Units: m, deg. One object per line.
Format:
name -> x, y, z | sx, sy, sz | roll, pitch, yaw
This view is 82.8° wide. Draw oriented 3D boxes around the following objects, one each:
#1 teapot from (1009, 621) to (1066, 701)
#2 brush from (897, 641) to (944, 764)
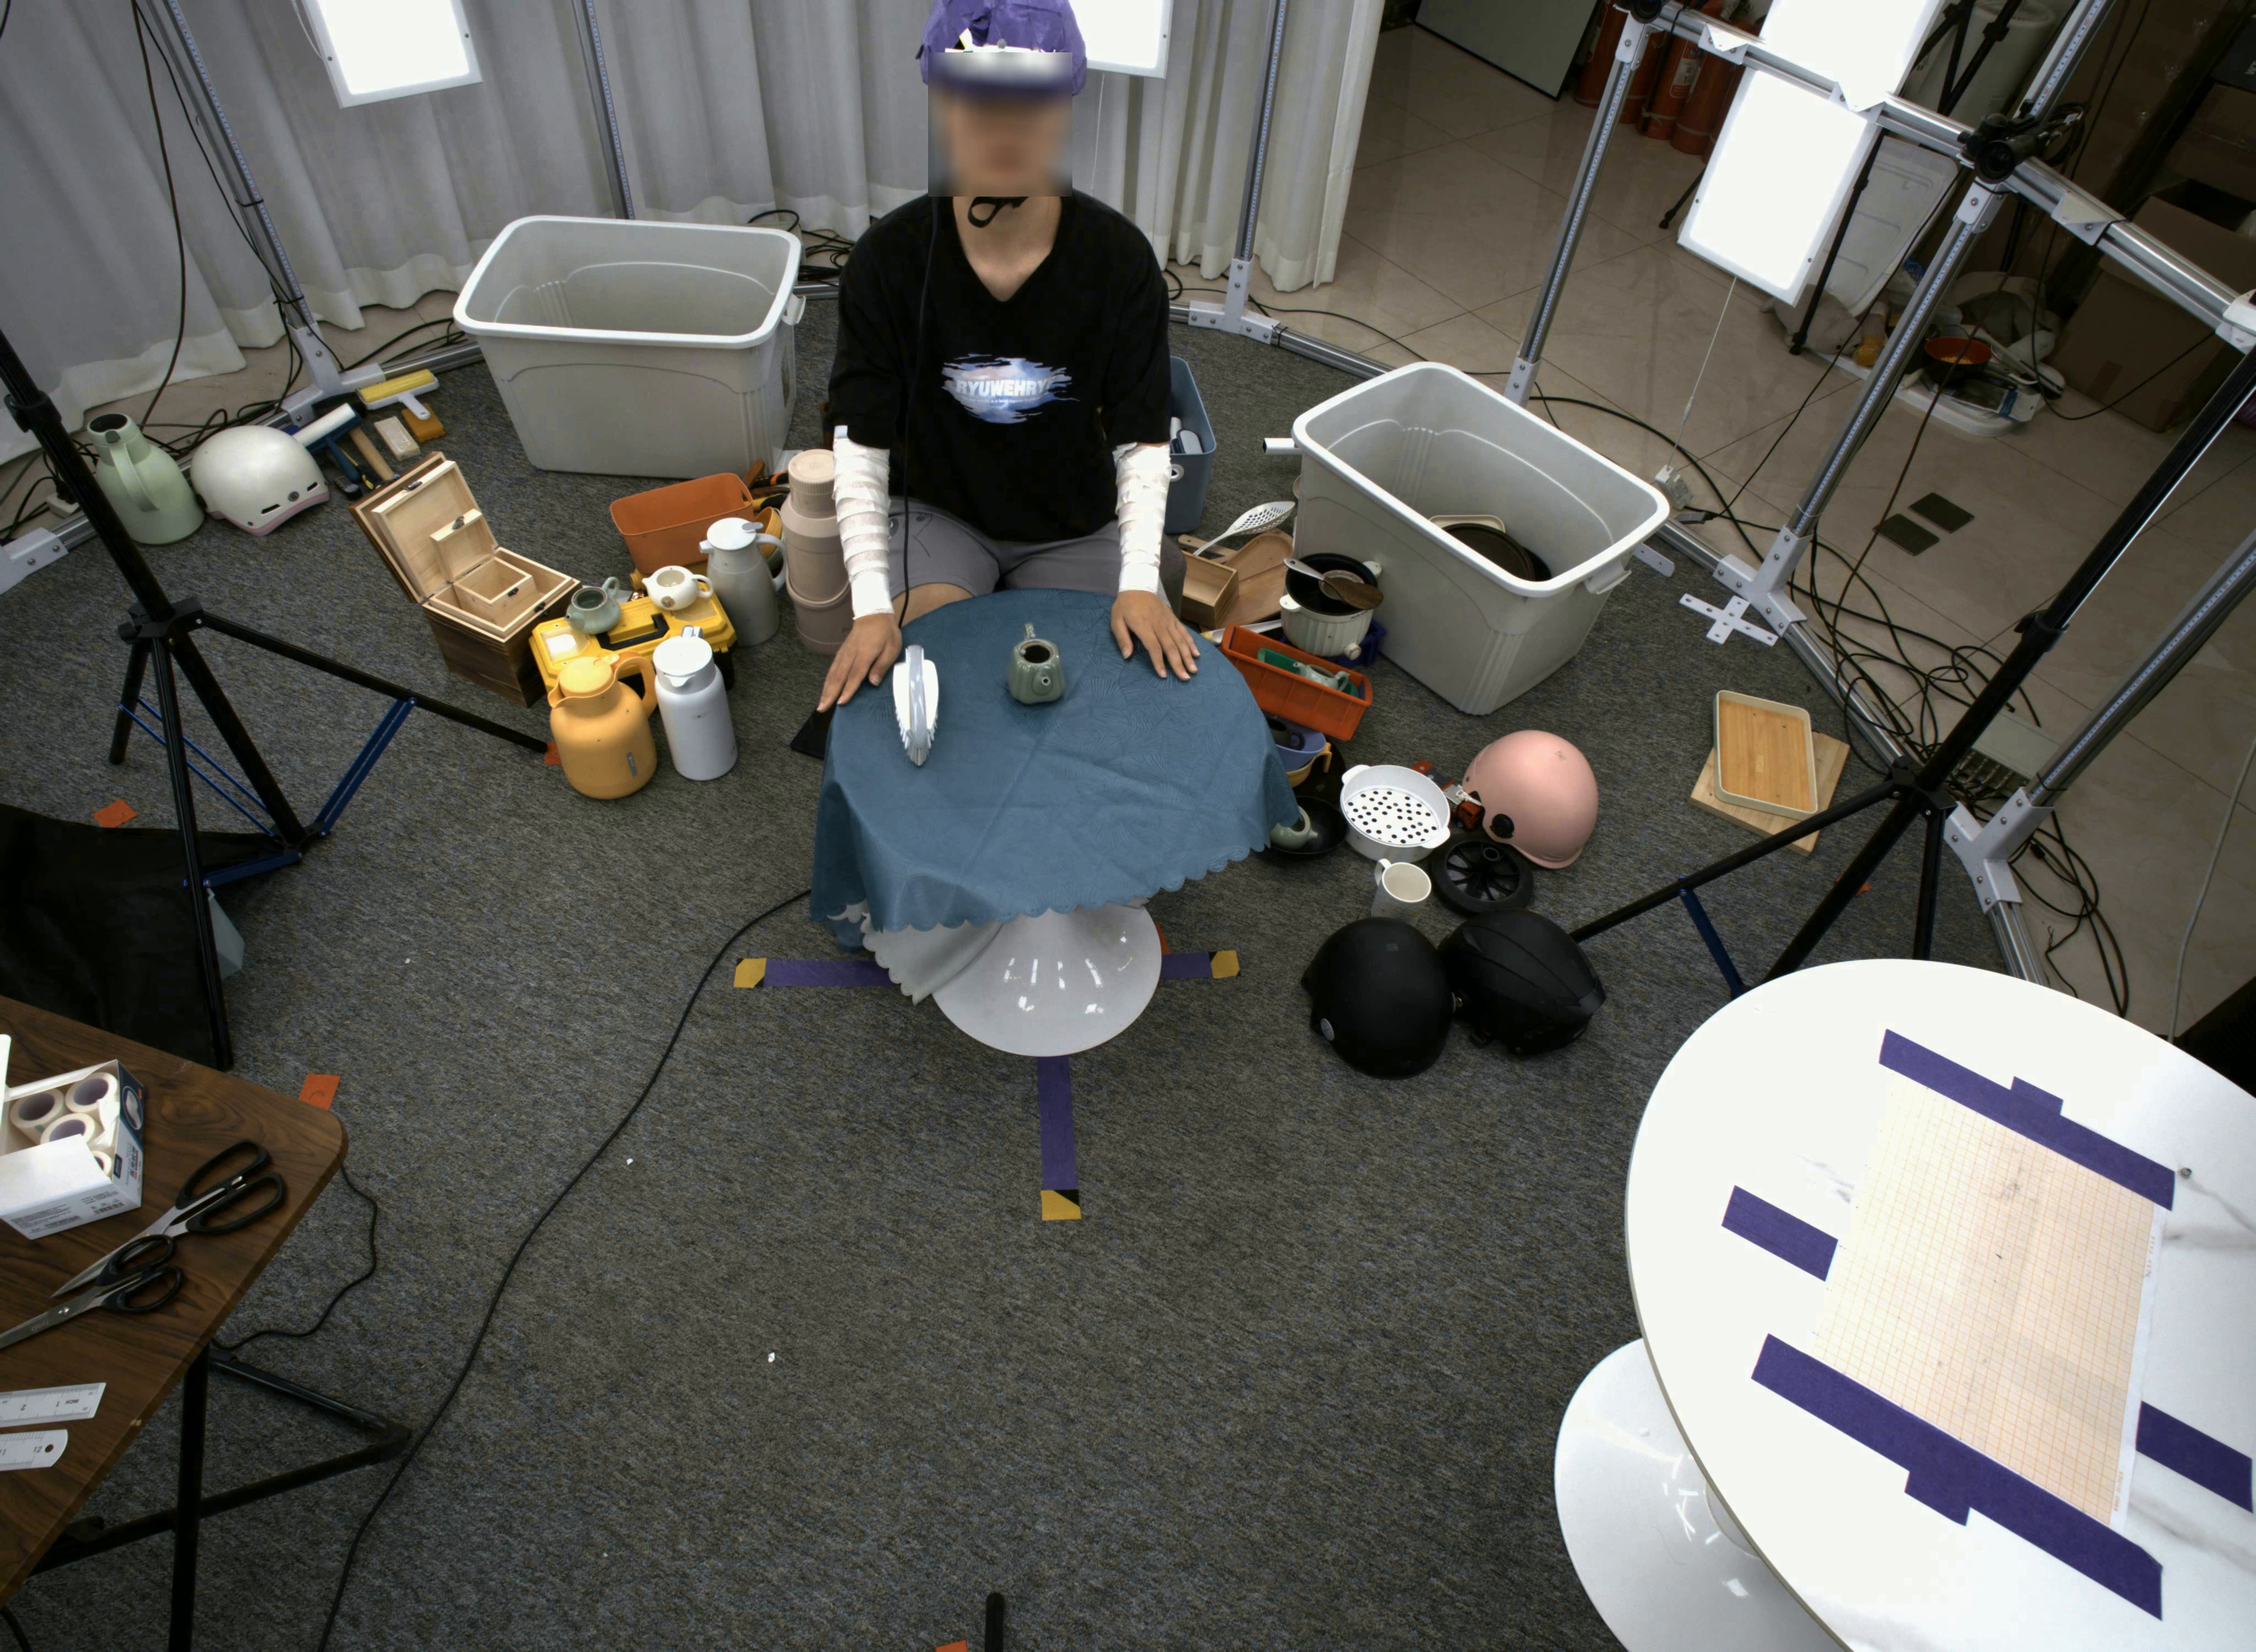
teapot -> -0.127, -0.224, 1.812 | 0.079, 0.073, 0.136 | -5, 49, -10
brush -> -0.283, -0.177, 1.750 | 0.061, 0.092, 0.180 | -4, 51, -5
